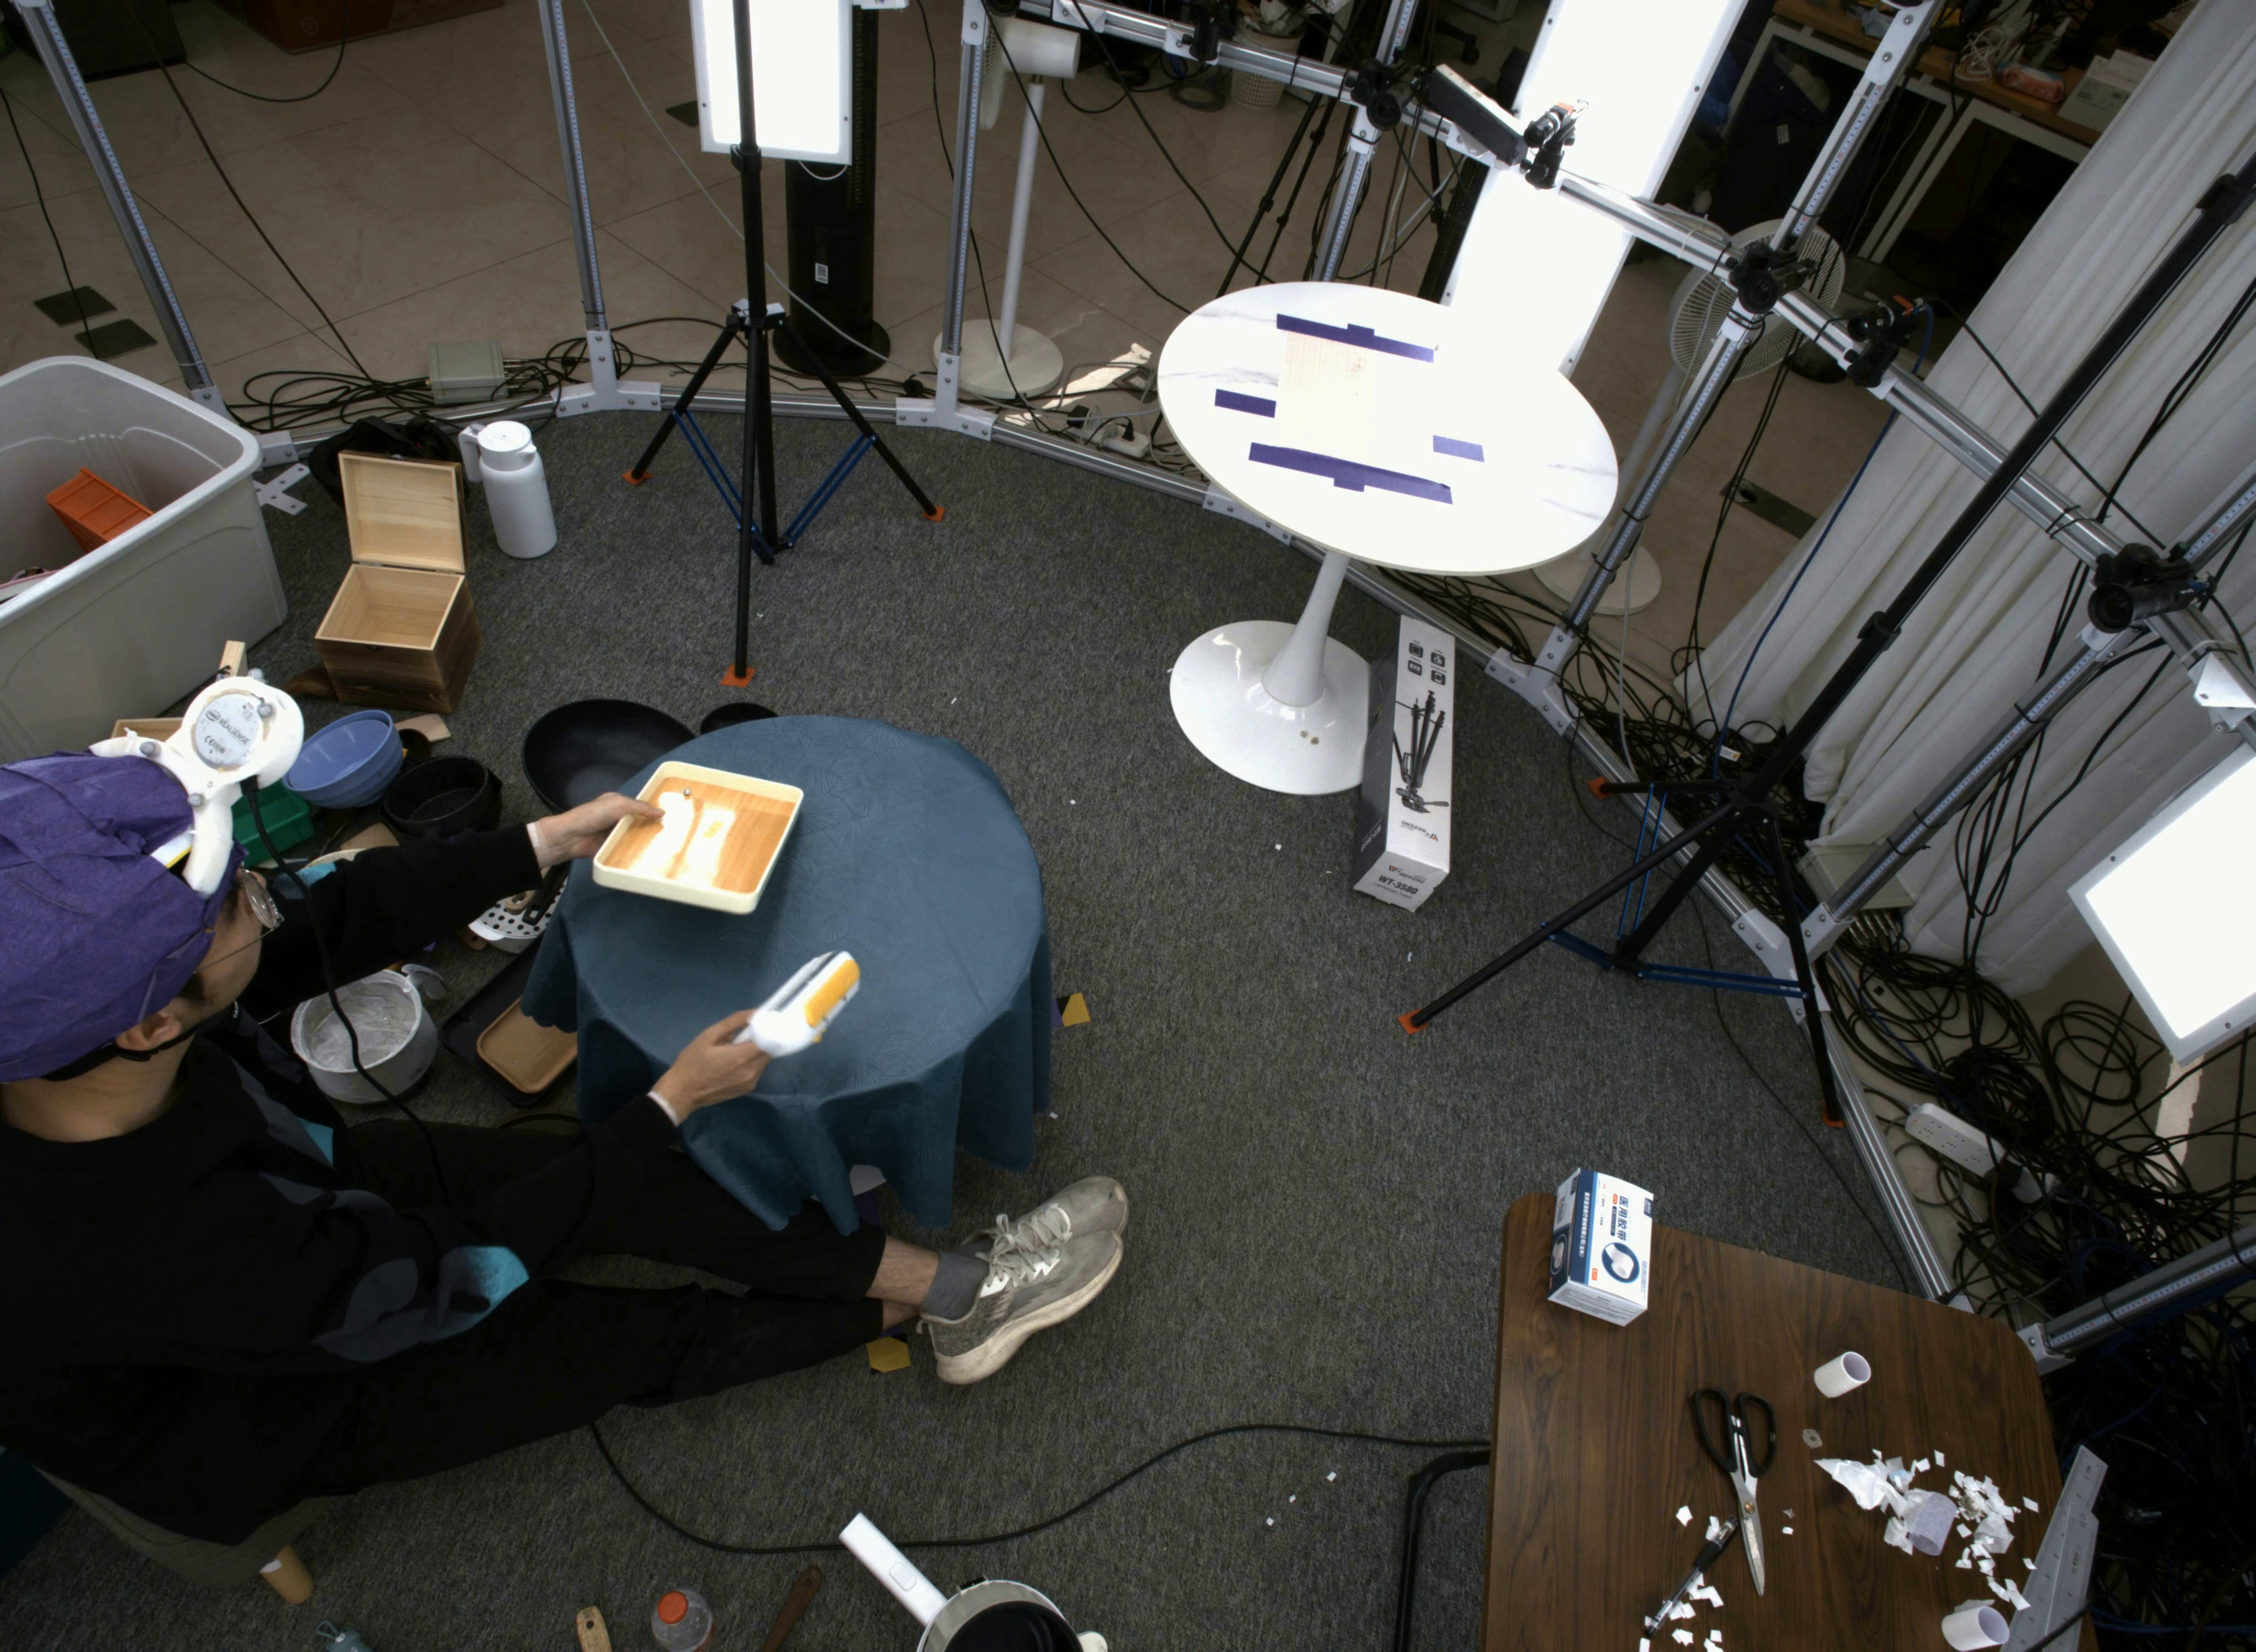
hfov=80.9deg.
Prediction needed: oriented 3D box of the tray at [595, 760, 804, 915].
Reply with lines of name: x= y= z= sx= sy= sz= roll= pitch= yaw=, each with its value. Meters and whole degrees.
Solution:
tray: x=-0.523 y=0.007 z=1.592 sx=0.191 sy=0.028 sz=0.294 roll=13 pitch=26 yaw=-8

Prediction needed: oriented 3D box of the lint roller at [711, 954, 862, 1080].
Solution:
lint roller: x=-0.399 y=0.223 z=1.443 sx=0.076 sy=0.189 sz=0.190 roll=62 pitch=19 yaw=-17
